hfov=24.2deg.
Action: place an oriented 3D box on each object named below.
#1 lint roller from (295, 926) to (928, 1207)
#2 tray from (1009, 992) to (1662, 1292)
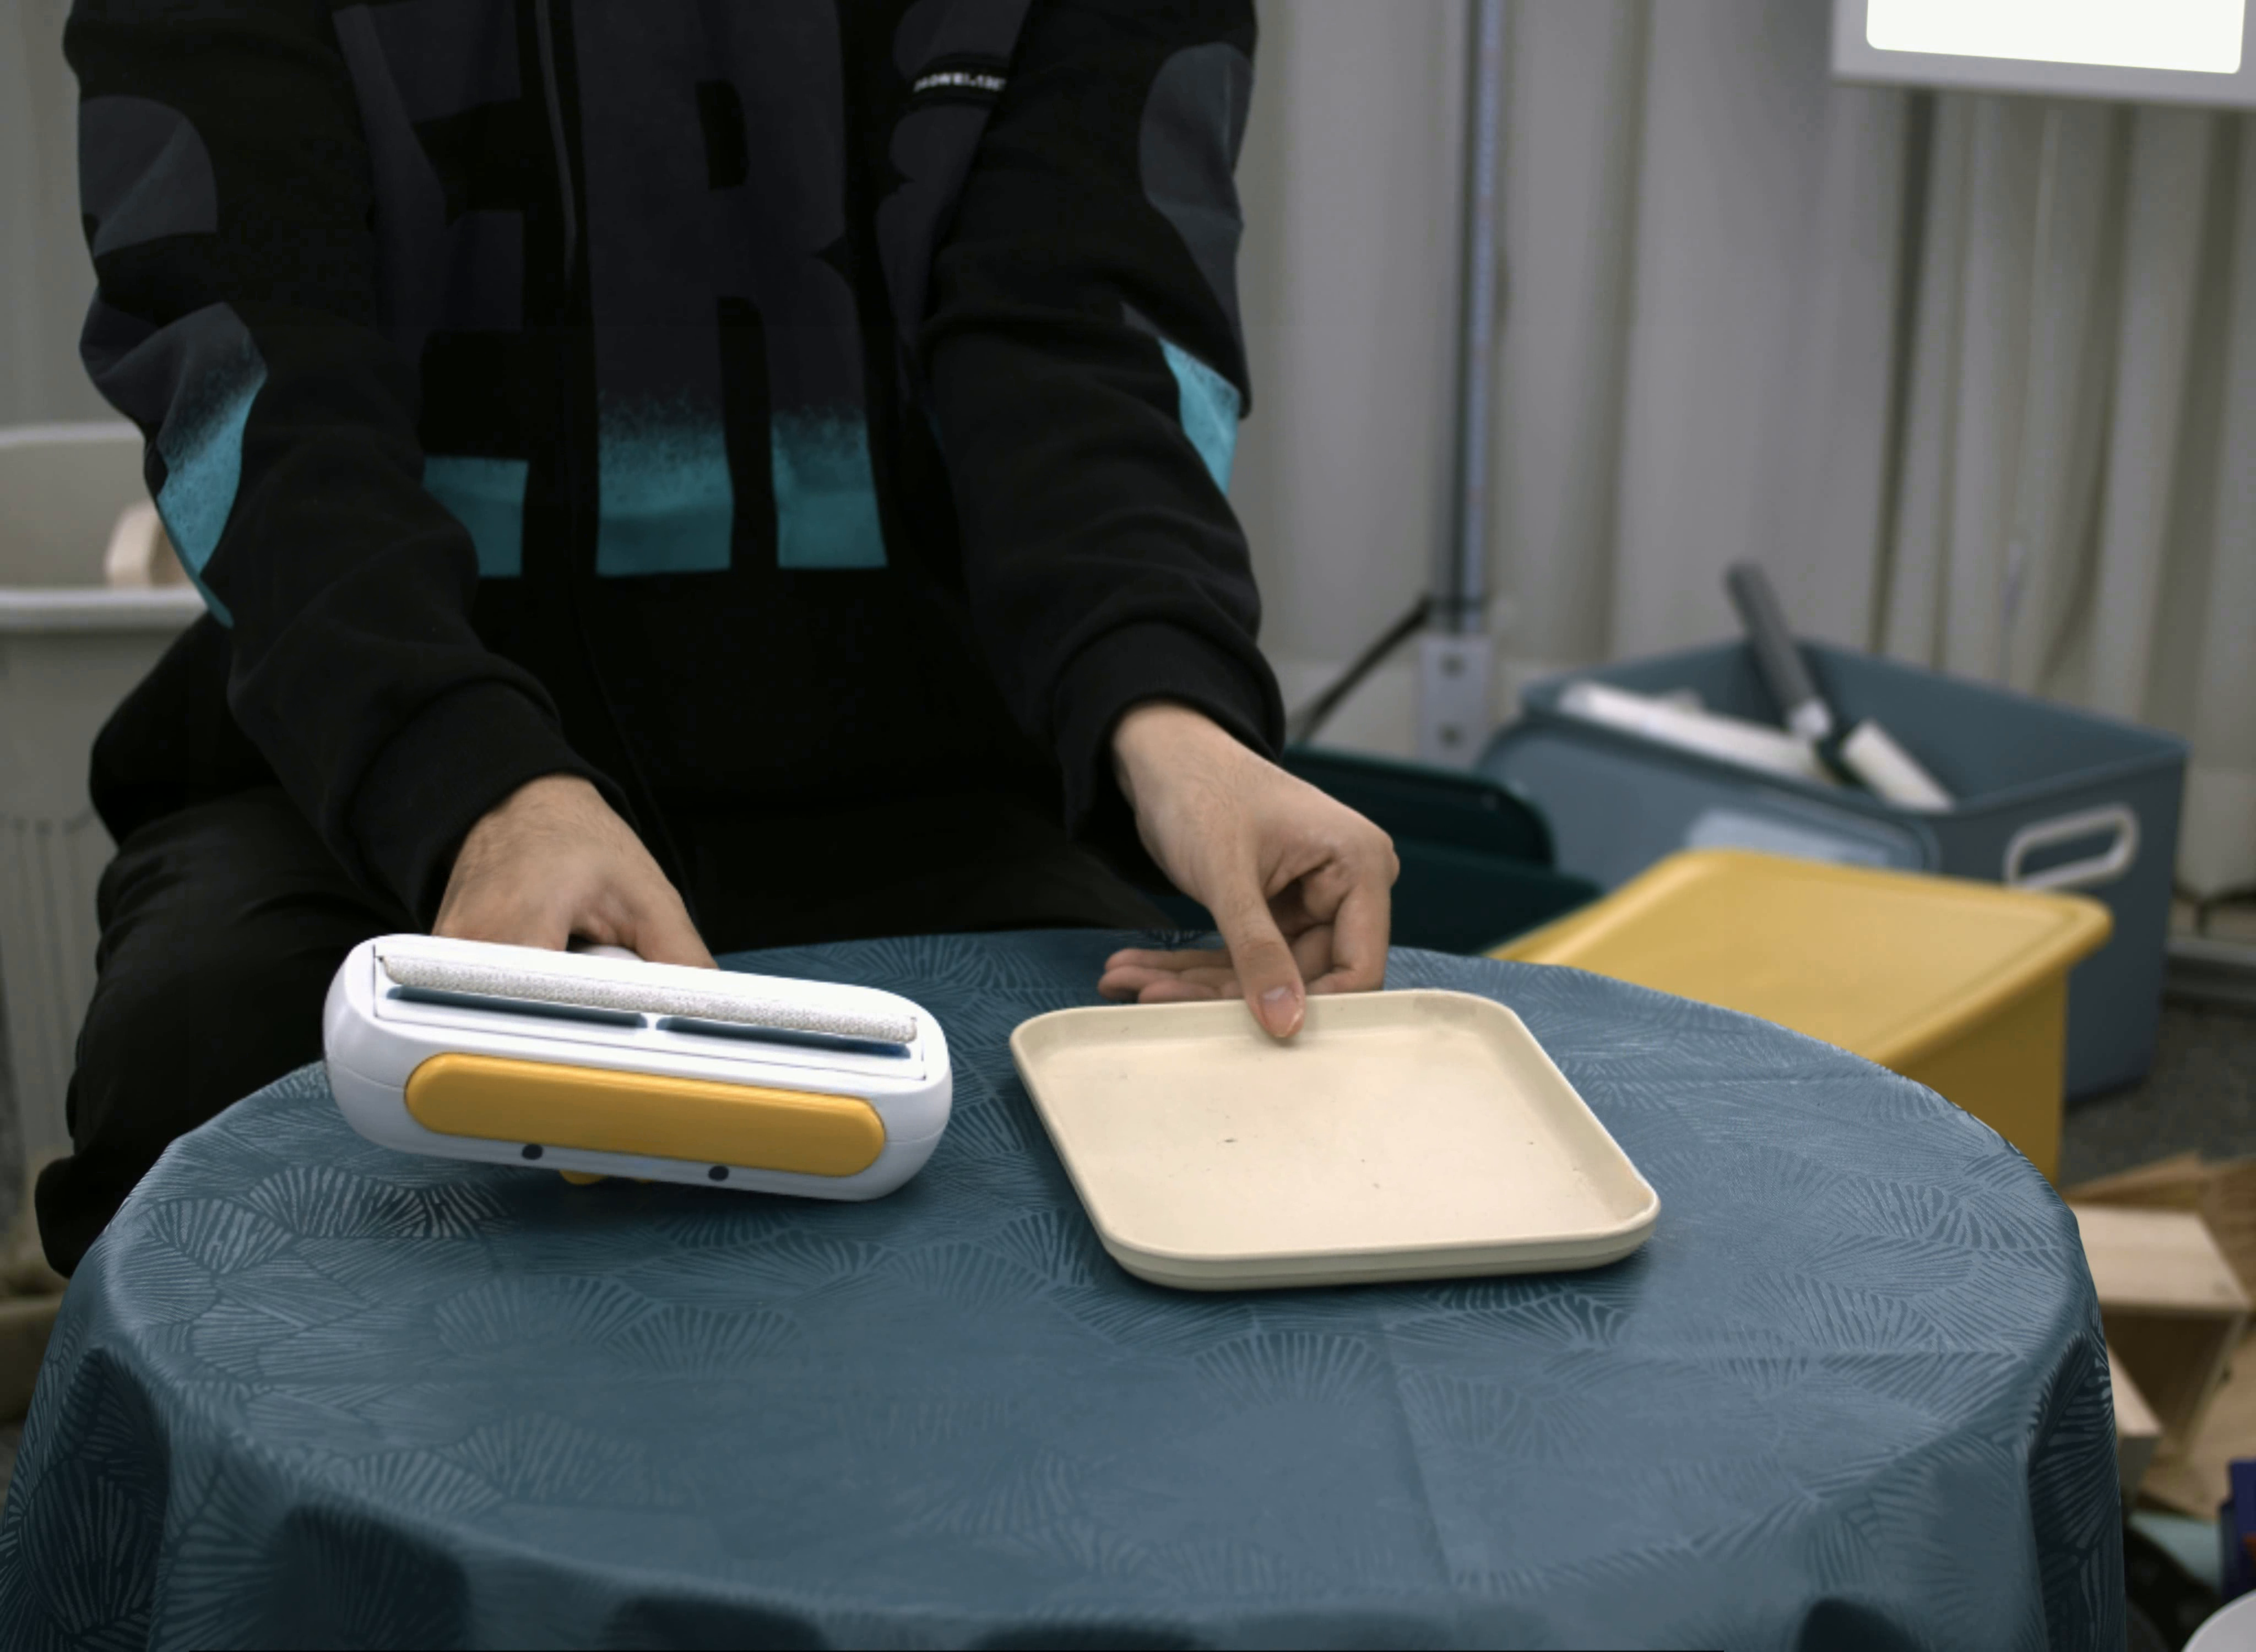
[{"bbox_3d":[-0.163,0.059,1.656,0.193,0.075,0.191,4,21,-9],"label":"lint roller"},{"bbox_3d":[0.060,0.097,1.643,0.171,0.017,0.237,-3,16,-10],"label":"tray"}]
